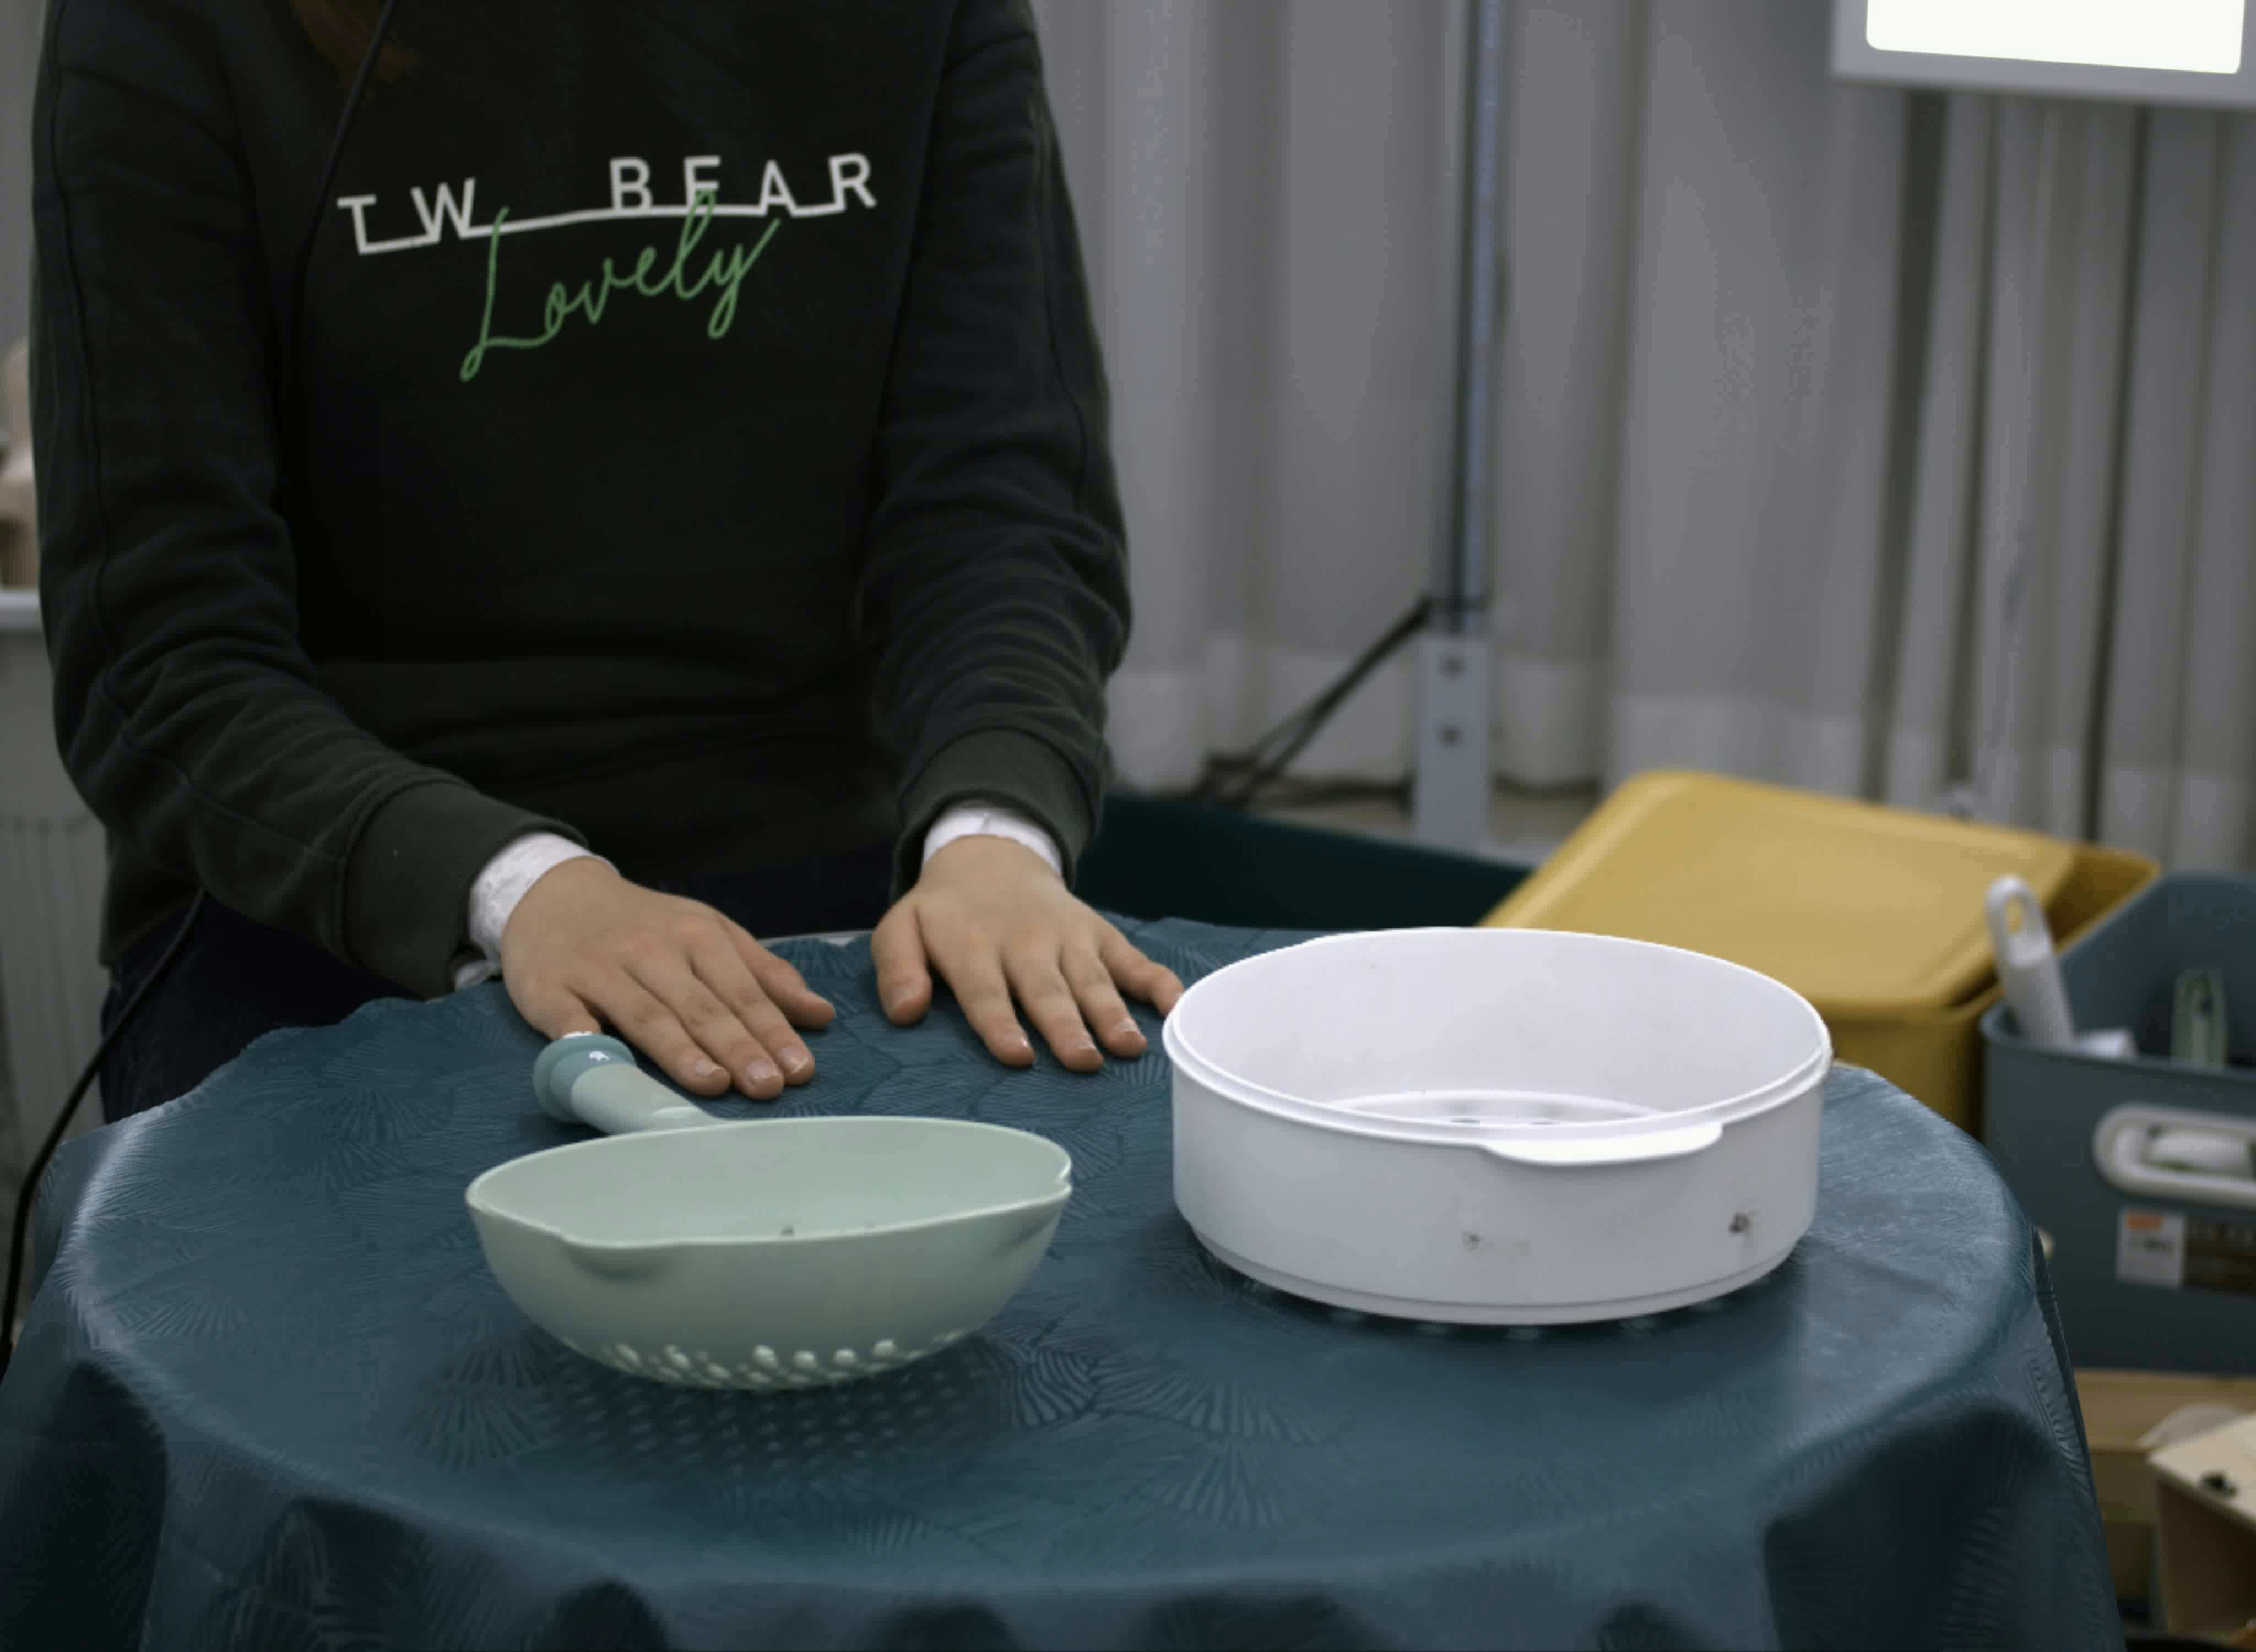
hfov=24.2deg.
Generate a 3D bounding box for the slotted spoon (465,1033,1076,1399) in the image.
[{"bbox_3d":[-0.129,0.098,1.553,0.170,0.076,0.355,-4,17,-18],"label":"slotted spoon"}]

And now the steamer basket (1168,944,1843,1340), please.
[{"bbox_3d":[0.112,0.094,1.580,0.202,0.070,0.228,-3,16,-16],"label":"steamer basket"}]
